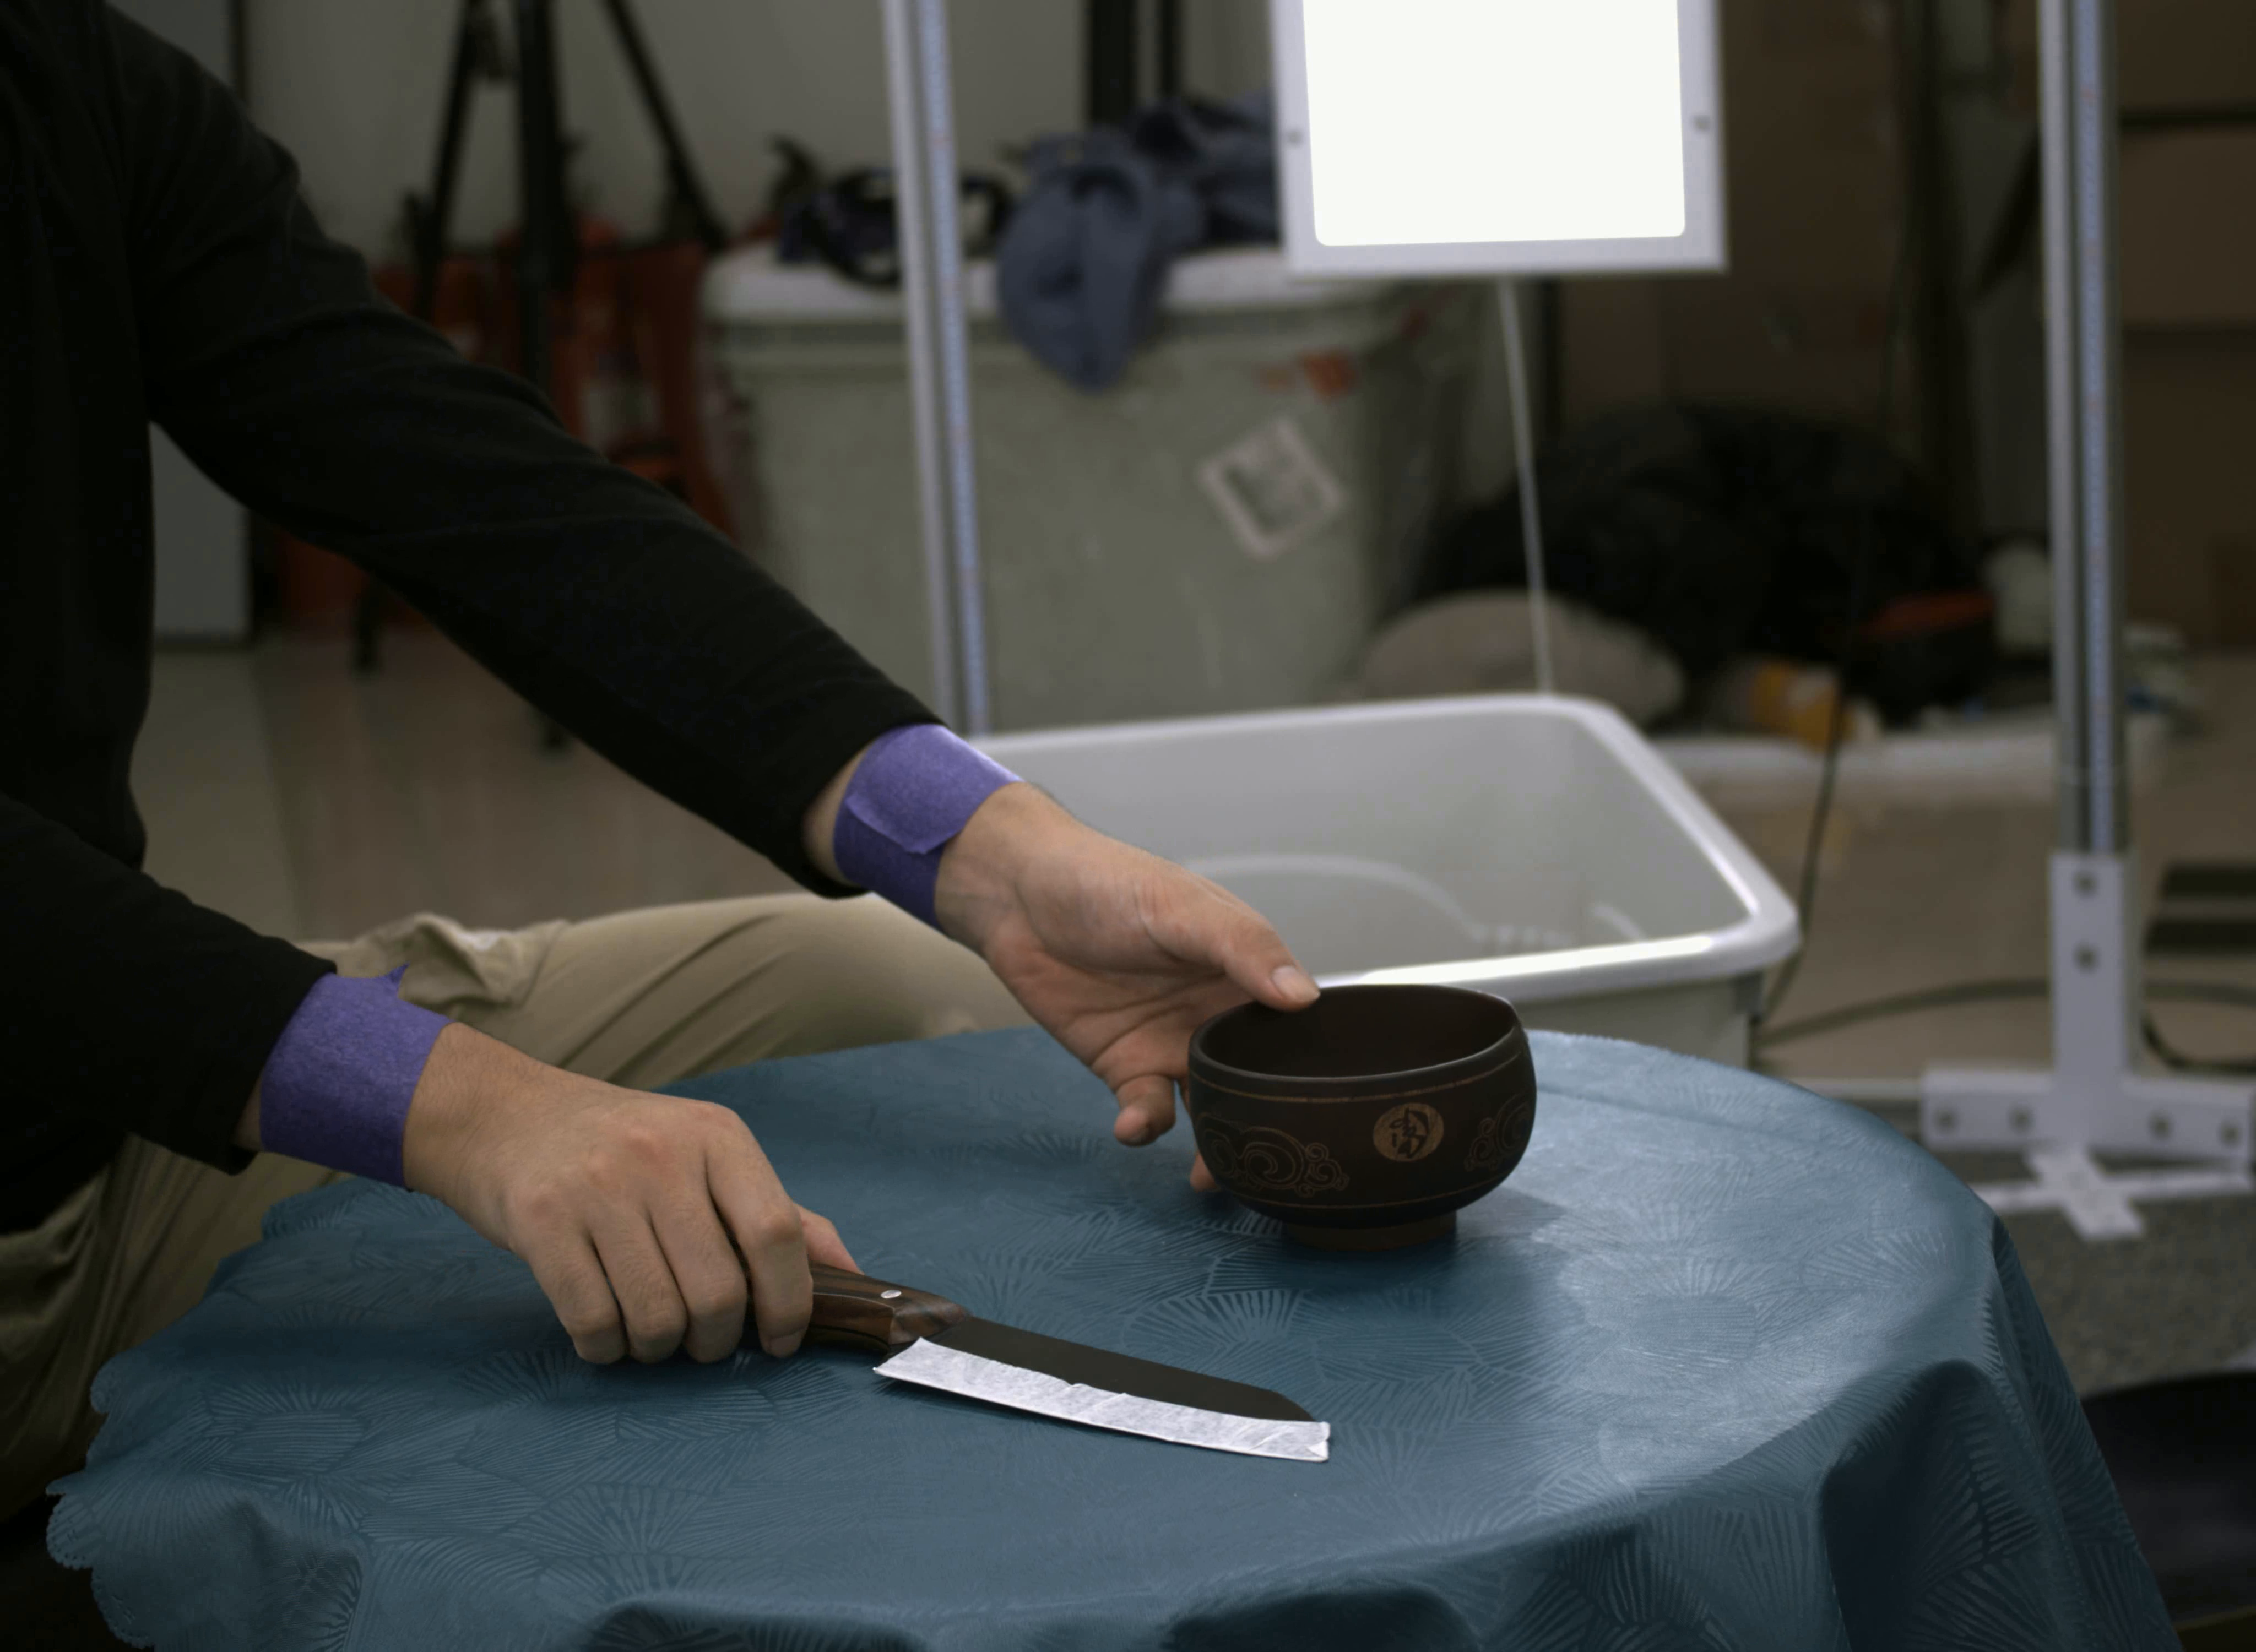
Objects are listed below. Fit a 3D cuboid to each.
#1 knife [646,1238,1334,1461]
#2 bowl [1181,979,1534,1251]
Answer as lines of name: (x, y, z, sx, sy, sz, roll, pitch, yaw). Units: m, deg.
knife: (-0.048, 0.166, 1.727, 0.295, 0.020, 0.049, 11, 28, 41)
bowl: (0.078, 0.100, 1.832, 0.118, 0.070, 0.118, -6, 14, 0)
